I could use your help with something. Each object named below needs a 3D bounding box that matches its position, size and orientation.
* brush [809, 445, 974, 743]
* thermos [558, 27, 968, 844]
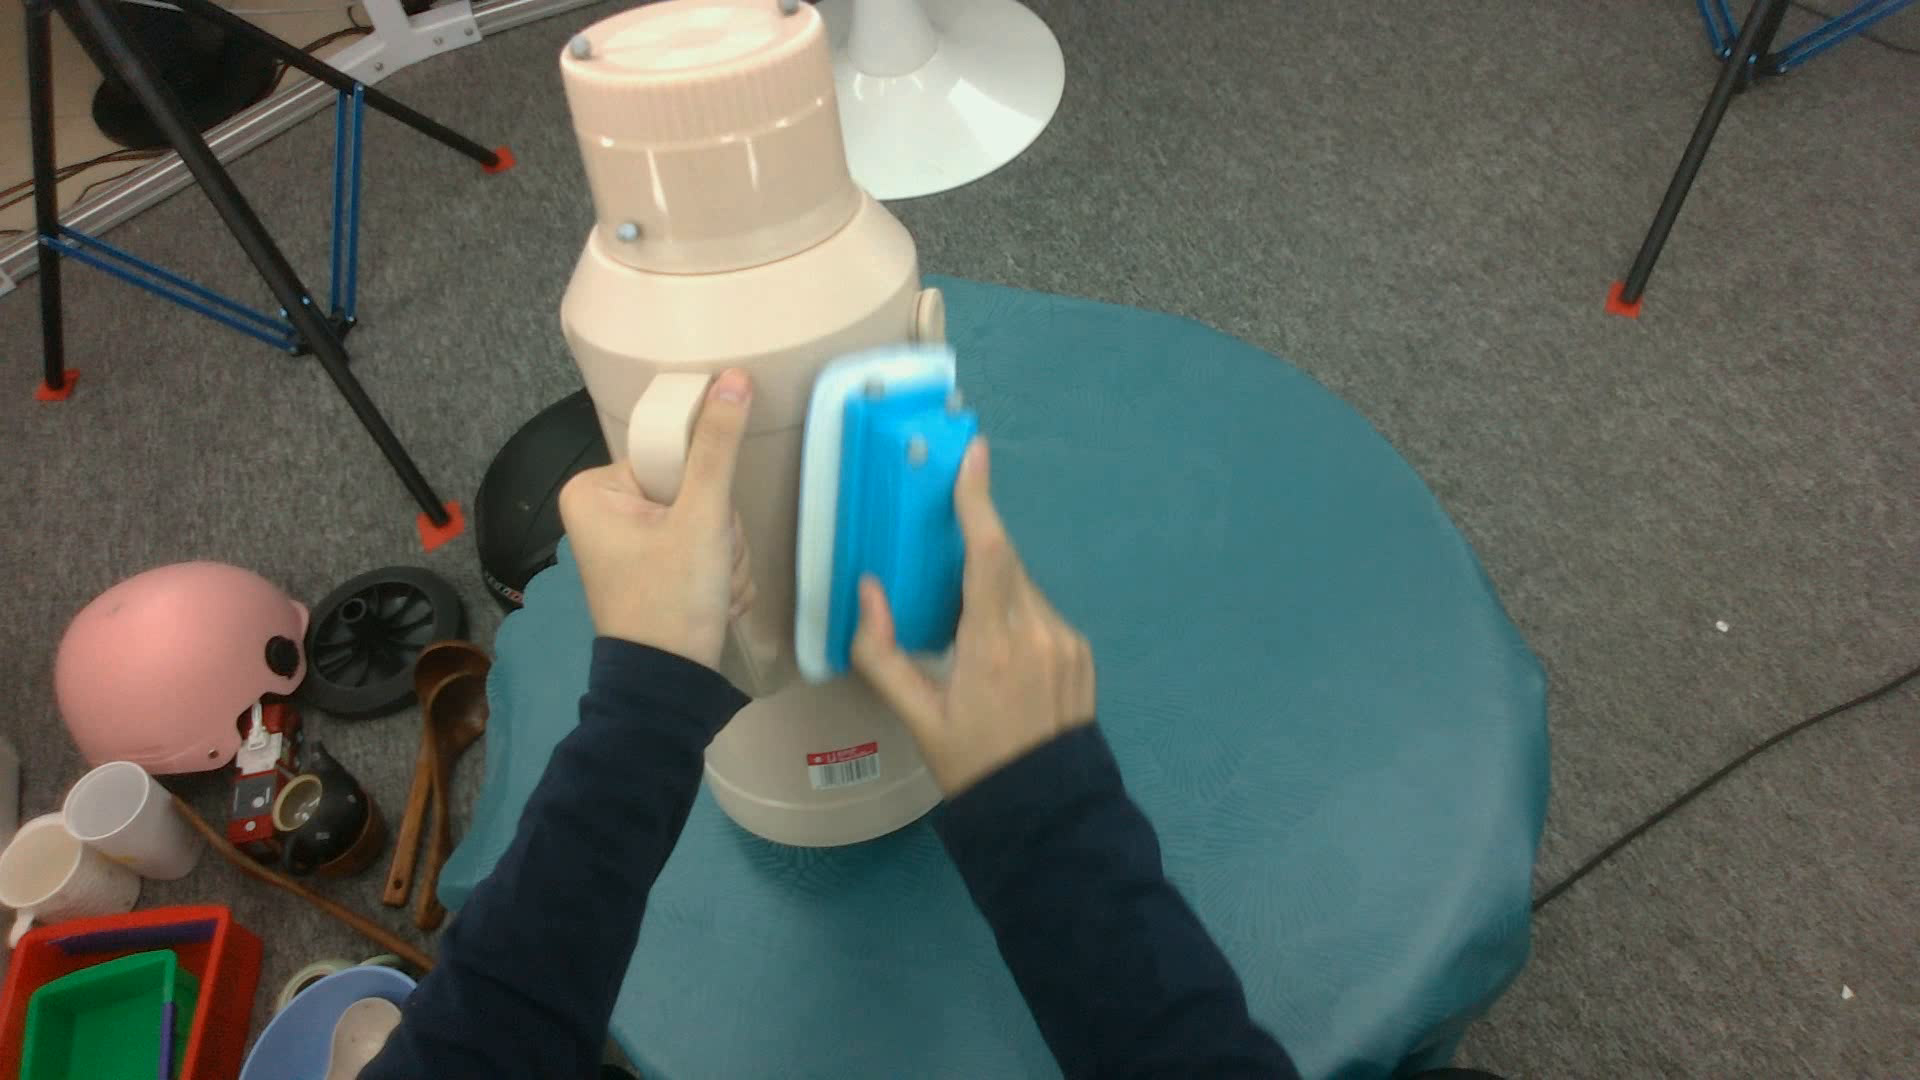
[{"bbox_3d":[-0.023,0.030,0.632,0.084,0.143,0.056,-13,27,-39],"label":"brush"},{"bbox_3d":[-0.098,-0.028,0.679,0.175,0.404,0.208,2,39,11],"label":"thermos"}]
